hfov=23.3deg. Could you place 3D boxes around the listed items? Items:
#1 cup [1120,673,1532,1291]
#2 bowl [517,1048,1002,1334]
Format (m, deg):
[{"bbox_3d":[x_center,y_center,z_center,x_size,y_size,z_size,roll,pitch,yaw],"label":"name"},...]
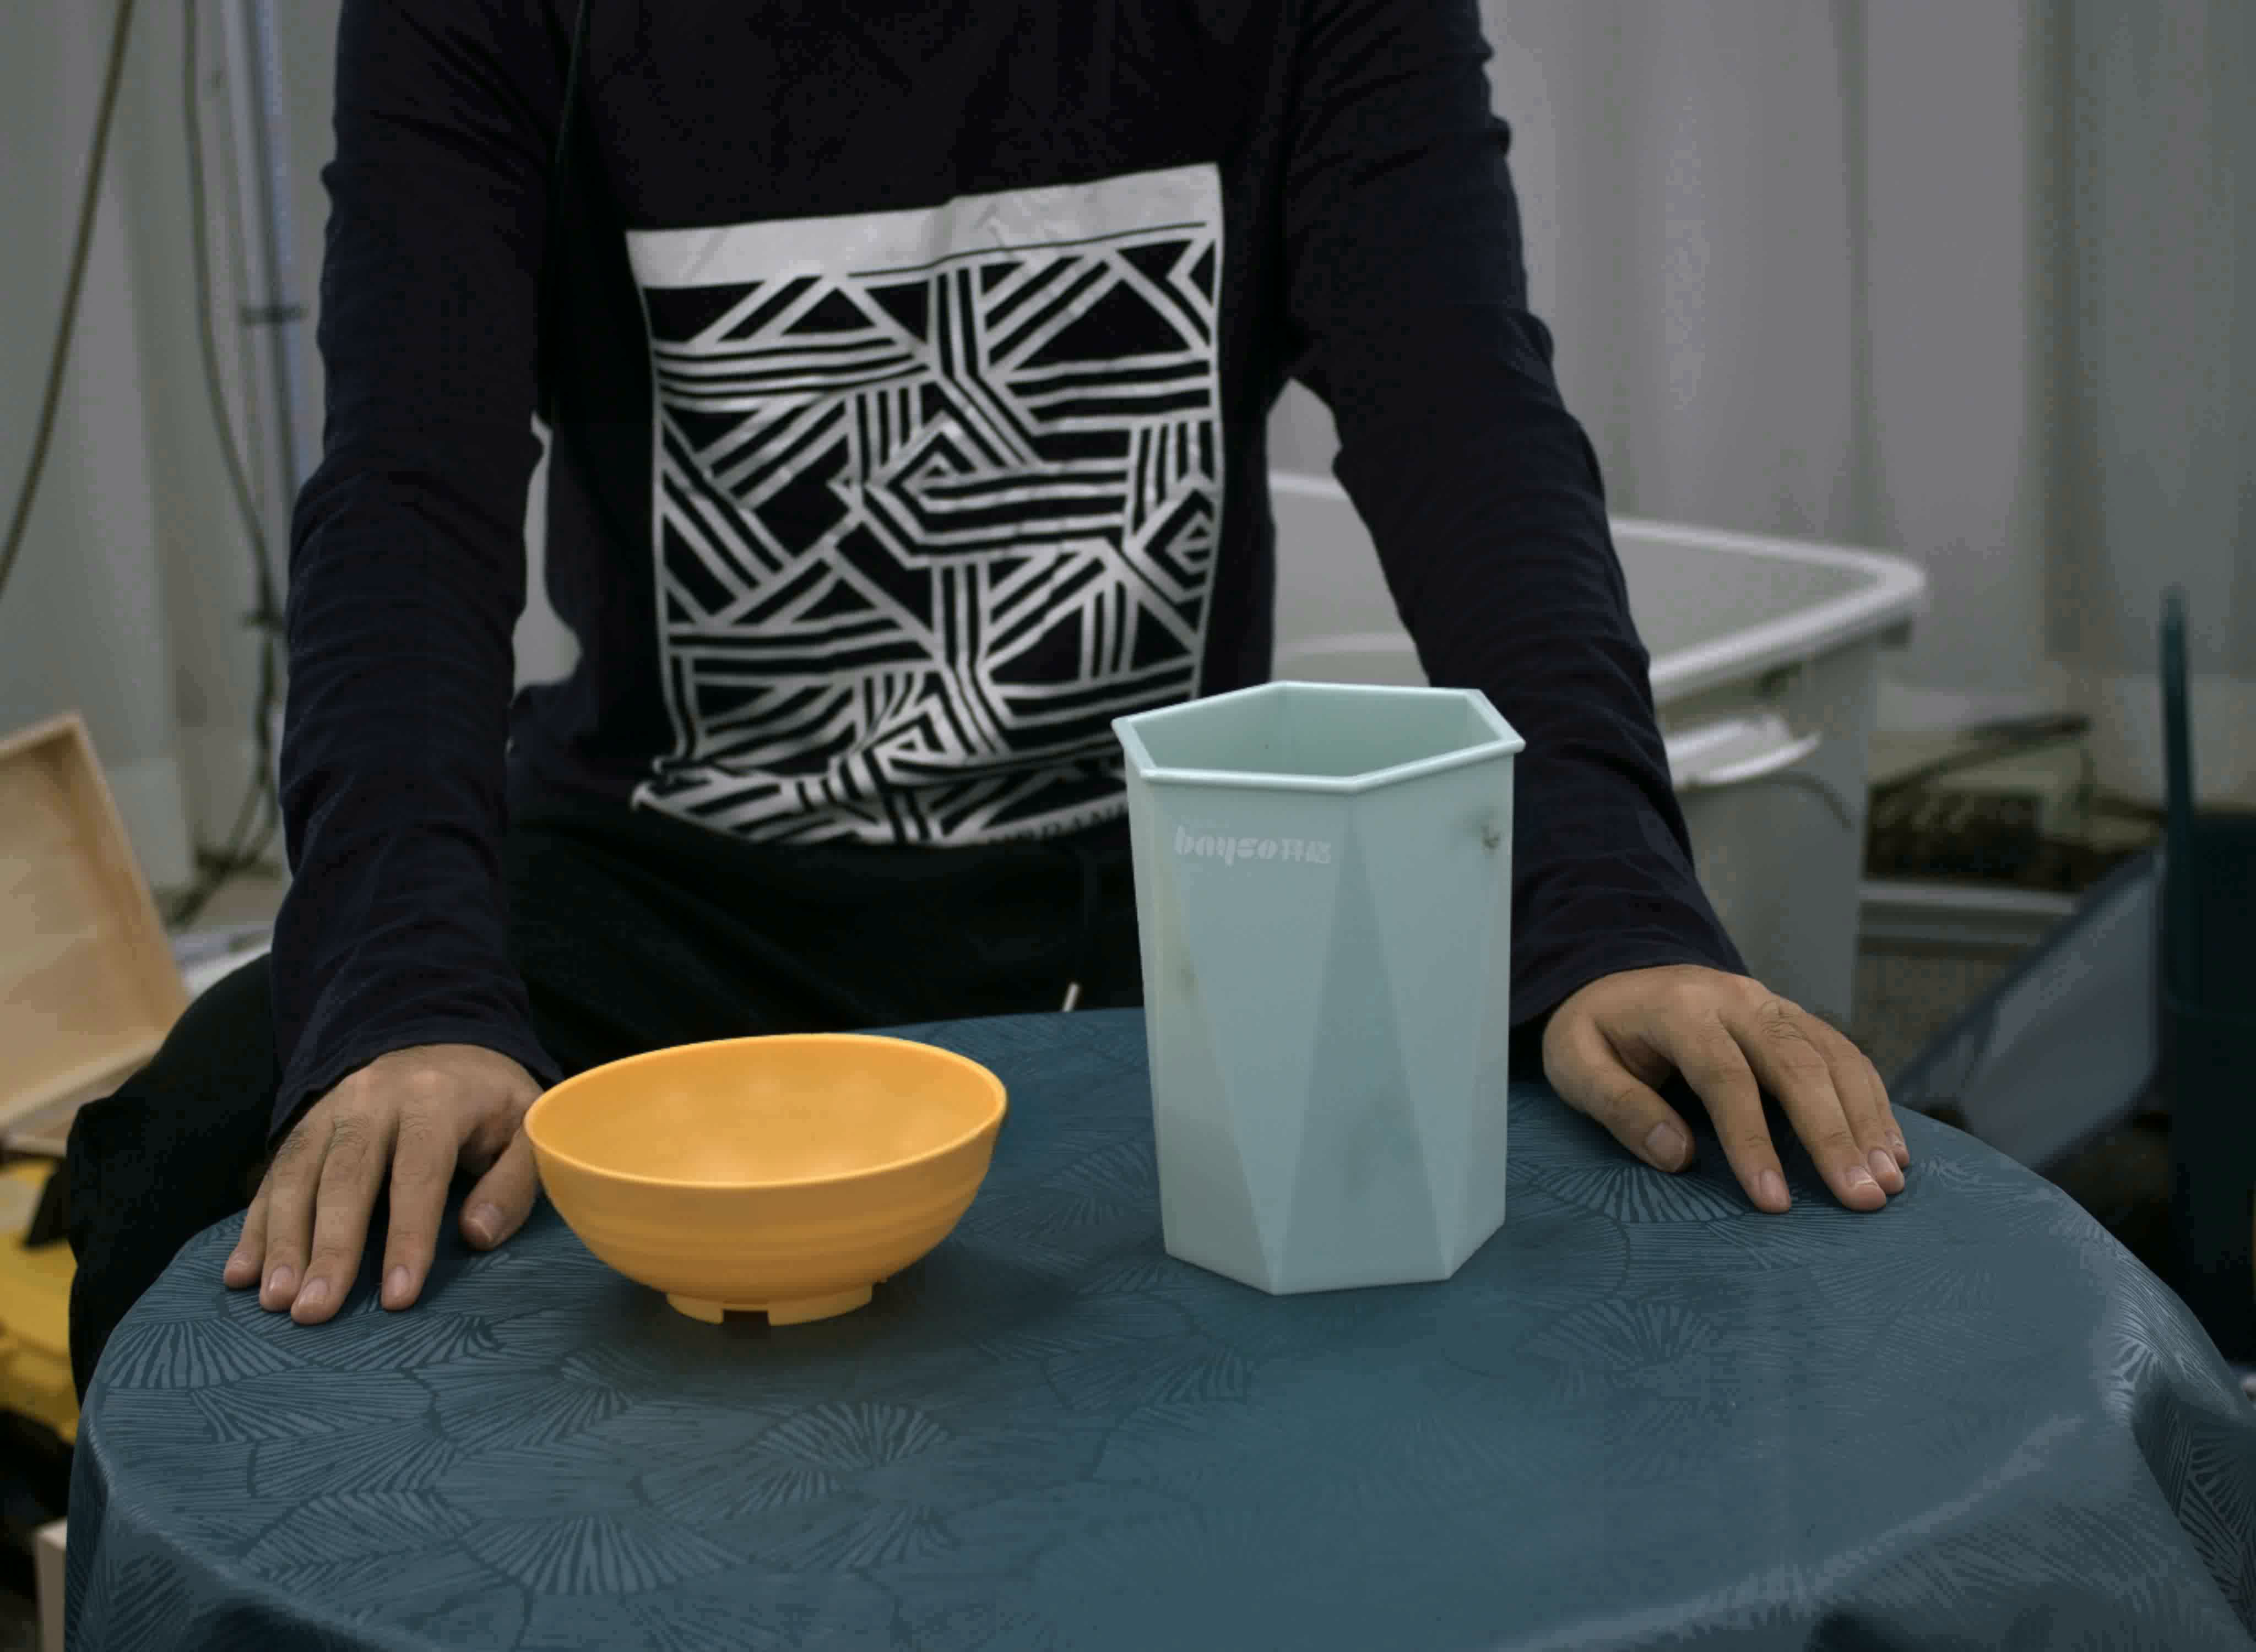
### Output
[{"bbox_3d":[0.060,0.047,1.642,0.131,0.162,0.115,3,14,21],"label":"cup"},{"bbox_3d":[-0.109,0.114,1.637,0.145,0.060,0.146,-2,12,0],"label":"bowl"}]
